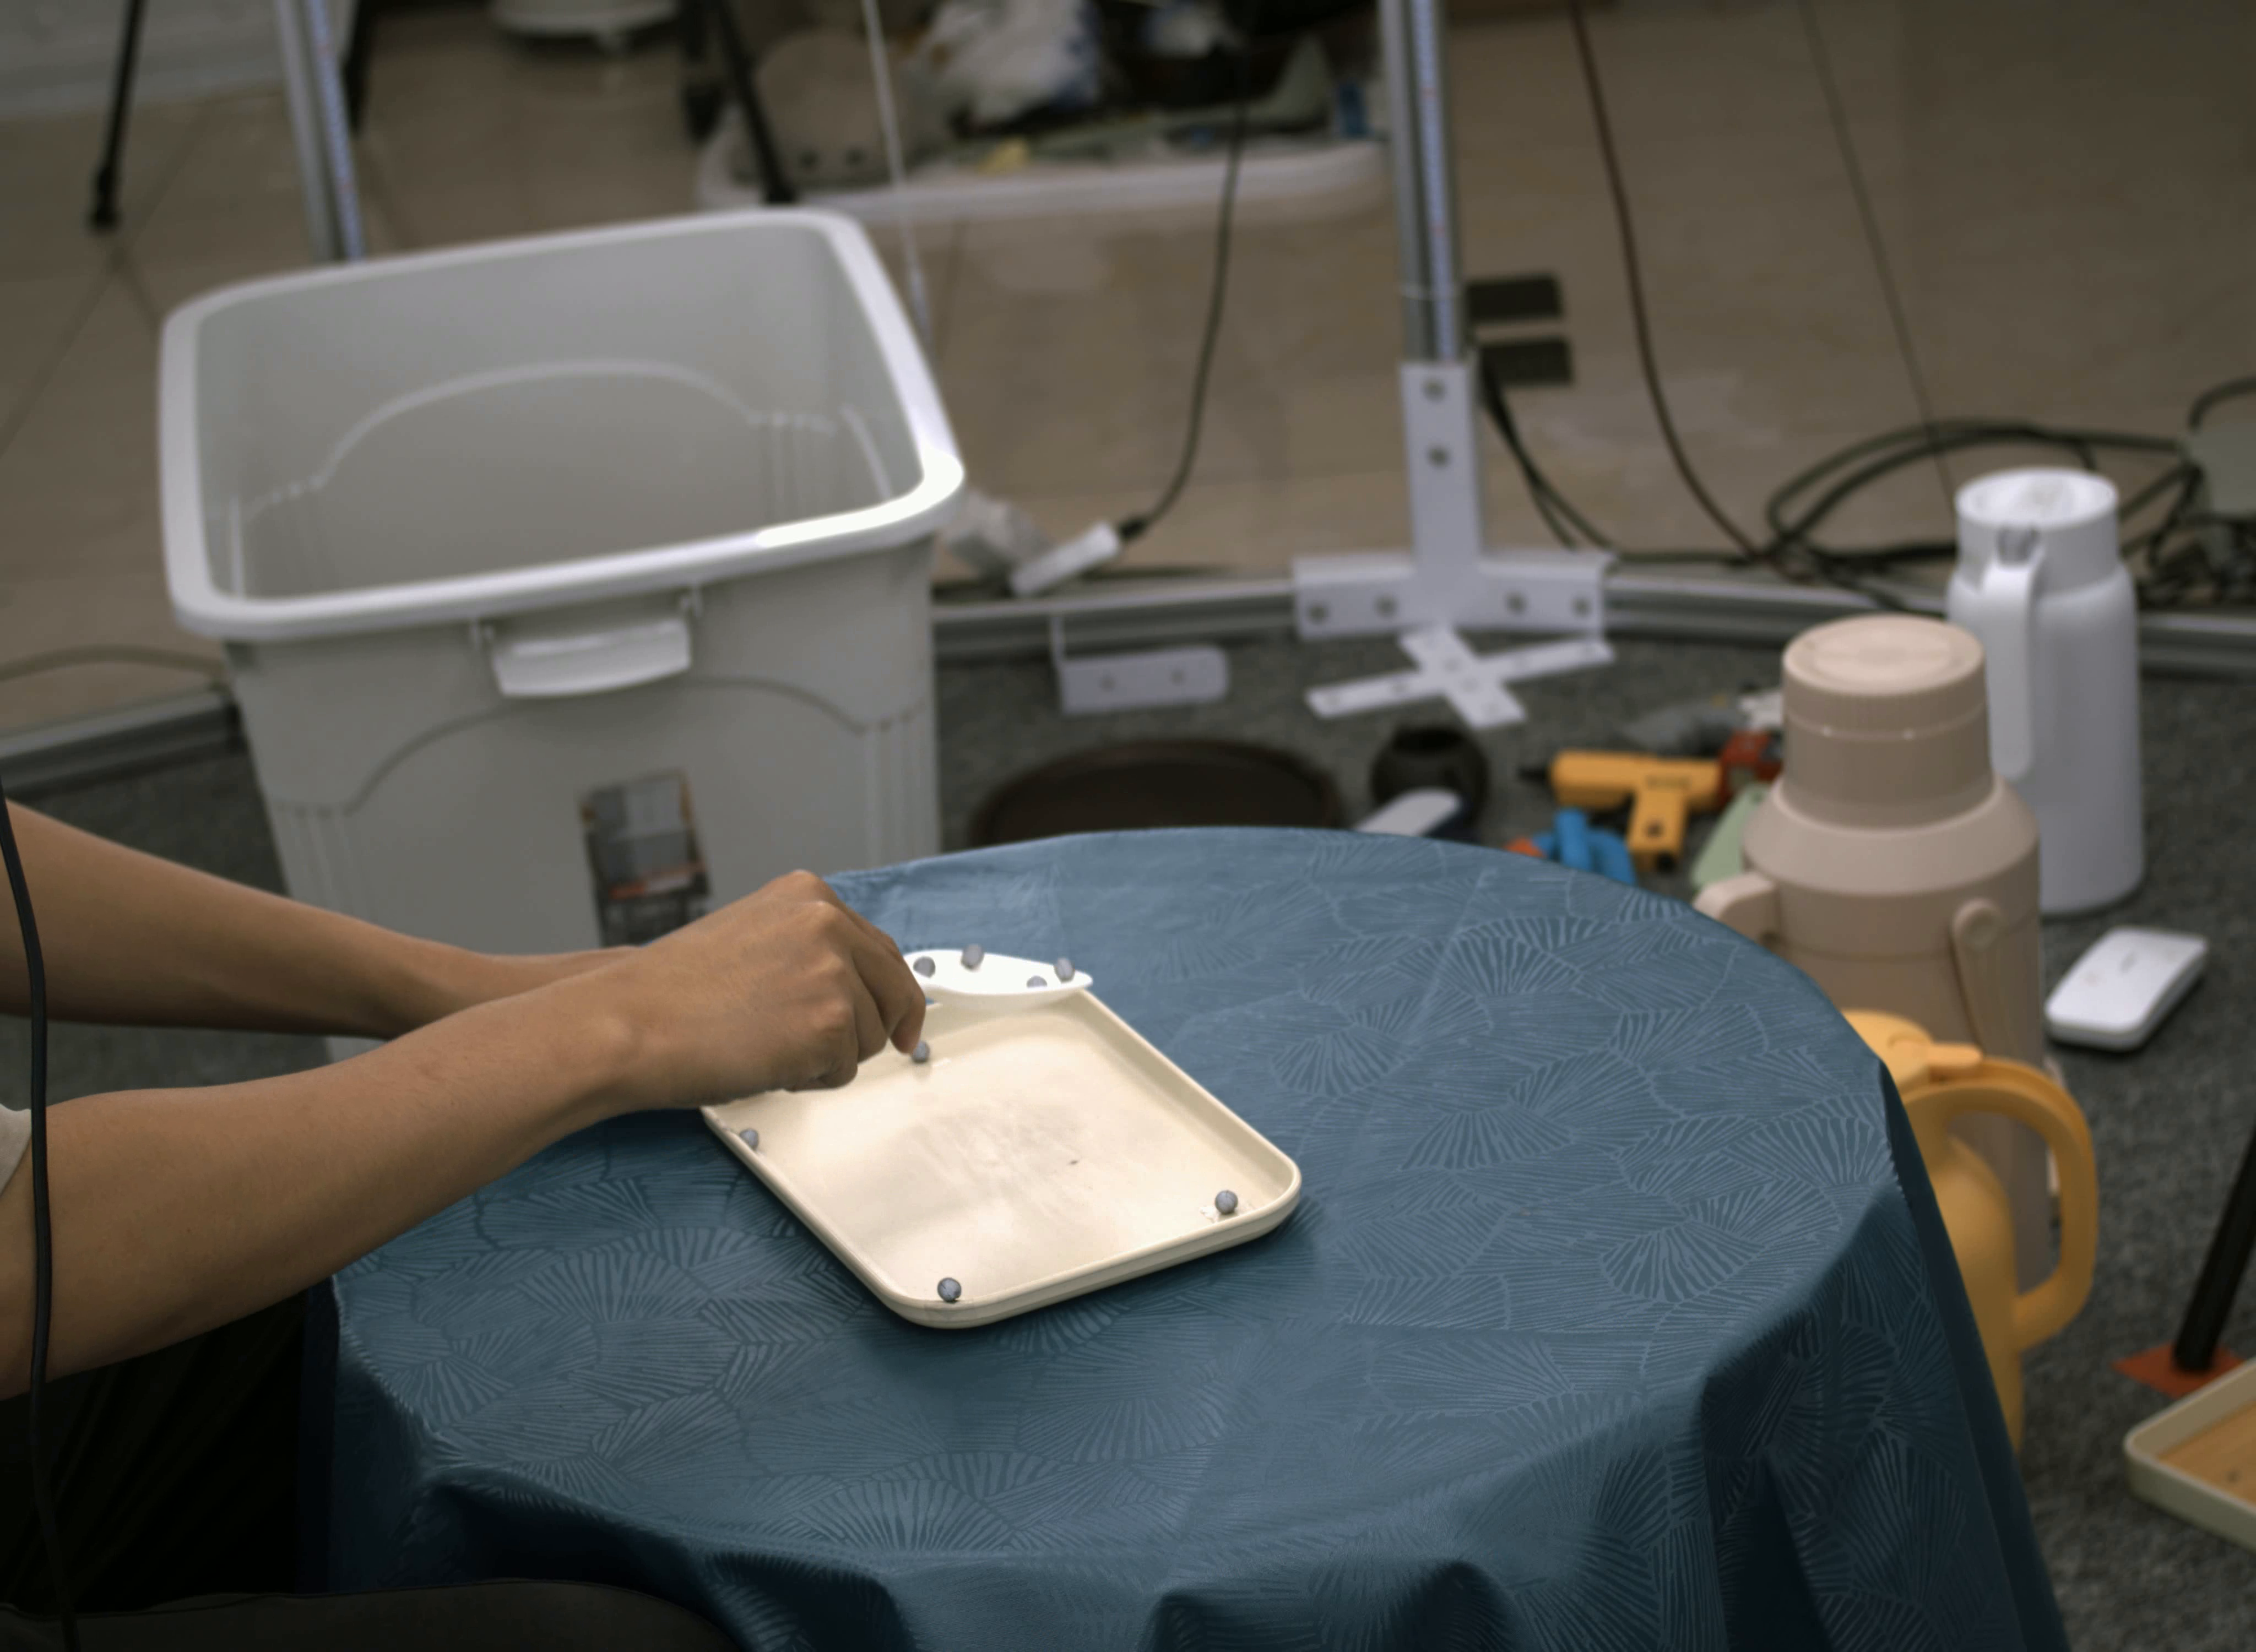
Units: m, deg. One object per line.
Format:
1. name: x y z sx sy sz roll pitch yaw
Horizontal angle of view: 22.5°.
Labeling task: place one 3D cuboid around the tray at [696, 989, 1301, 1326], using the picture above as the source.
1. tray: -0.052 0.125 2.173 0.170 0.018 0.237 -16 26 -21

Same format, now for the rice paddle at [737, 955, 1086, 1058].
1. rice paddle: -0.080 0.061 2.113 0.068 0.029 0.205 13 10 27
